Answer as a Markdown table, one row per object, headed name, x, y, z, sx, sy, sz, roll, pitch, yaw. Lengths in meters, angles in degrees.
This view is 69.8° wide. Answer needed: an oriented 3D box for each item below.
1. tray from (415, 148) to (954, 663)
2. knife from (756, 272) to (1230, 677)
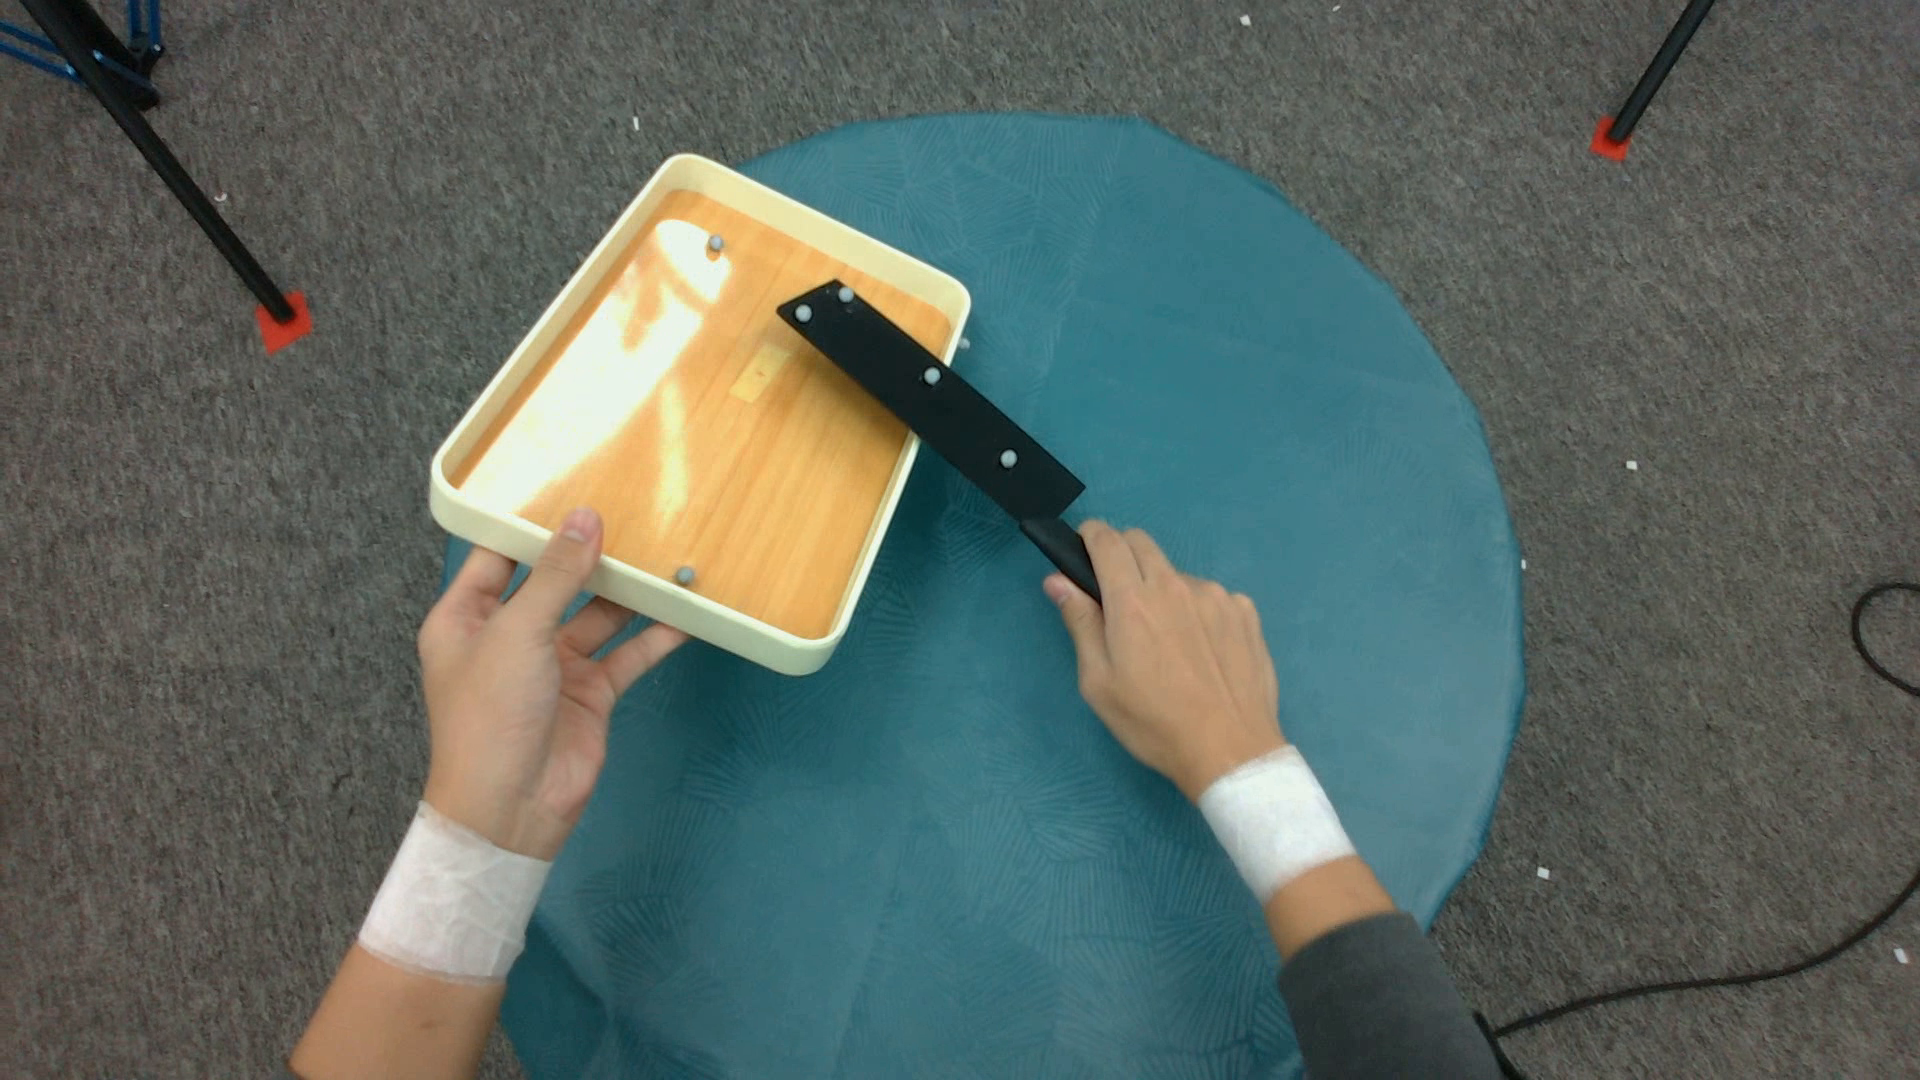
| name | x | y | z | sx | sy | sz | roll | pitch | yaw |
| --- | --- | --- | --- | --- | --- | --- | --- | --- | --- |
| tray | -0.121 | -0.084 | 0.701 | 0.191 | 0.027 | 0.302 | 24 | 44 | -6 |
| knife | 0.020 | -0.037 | 0.713 | 0.302 | 0.021 | 0.081 | 43 | 39 | 8 |
